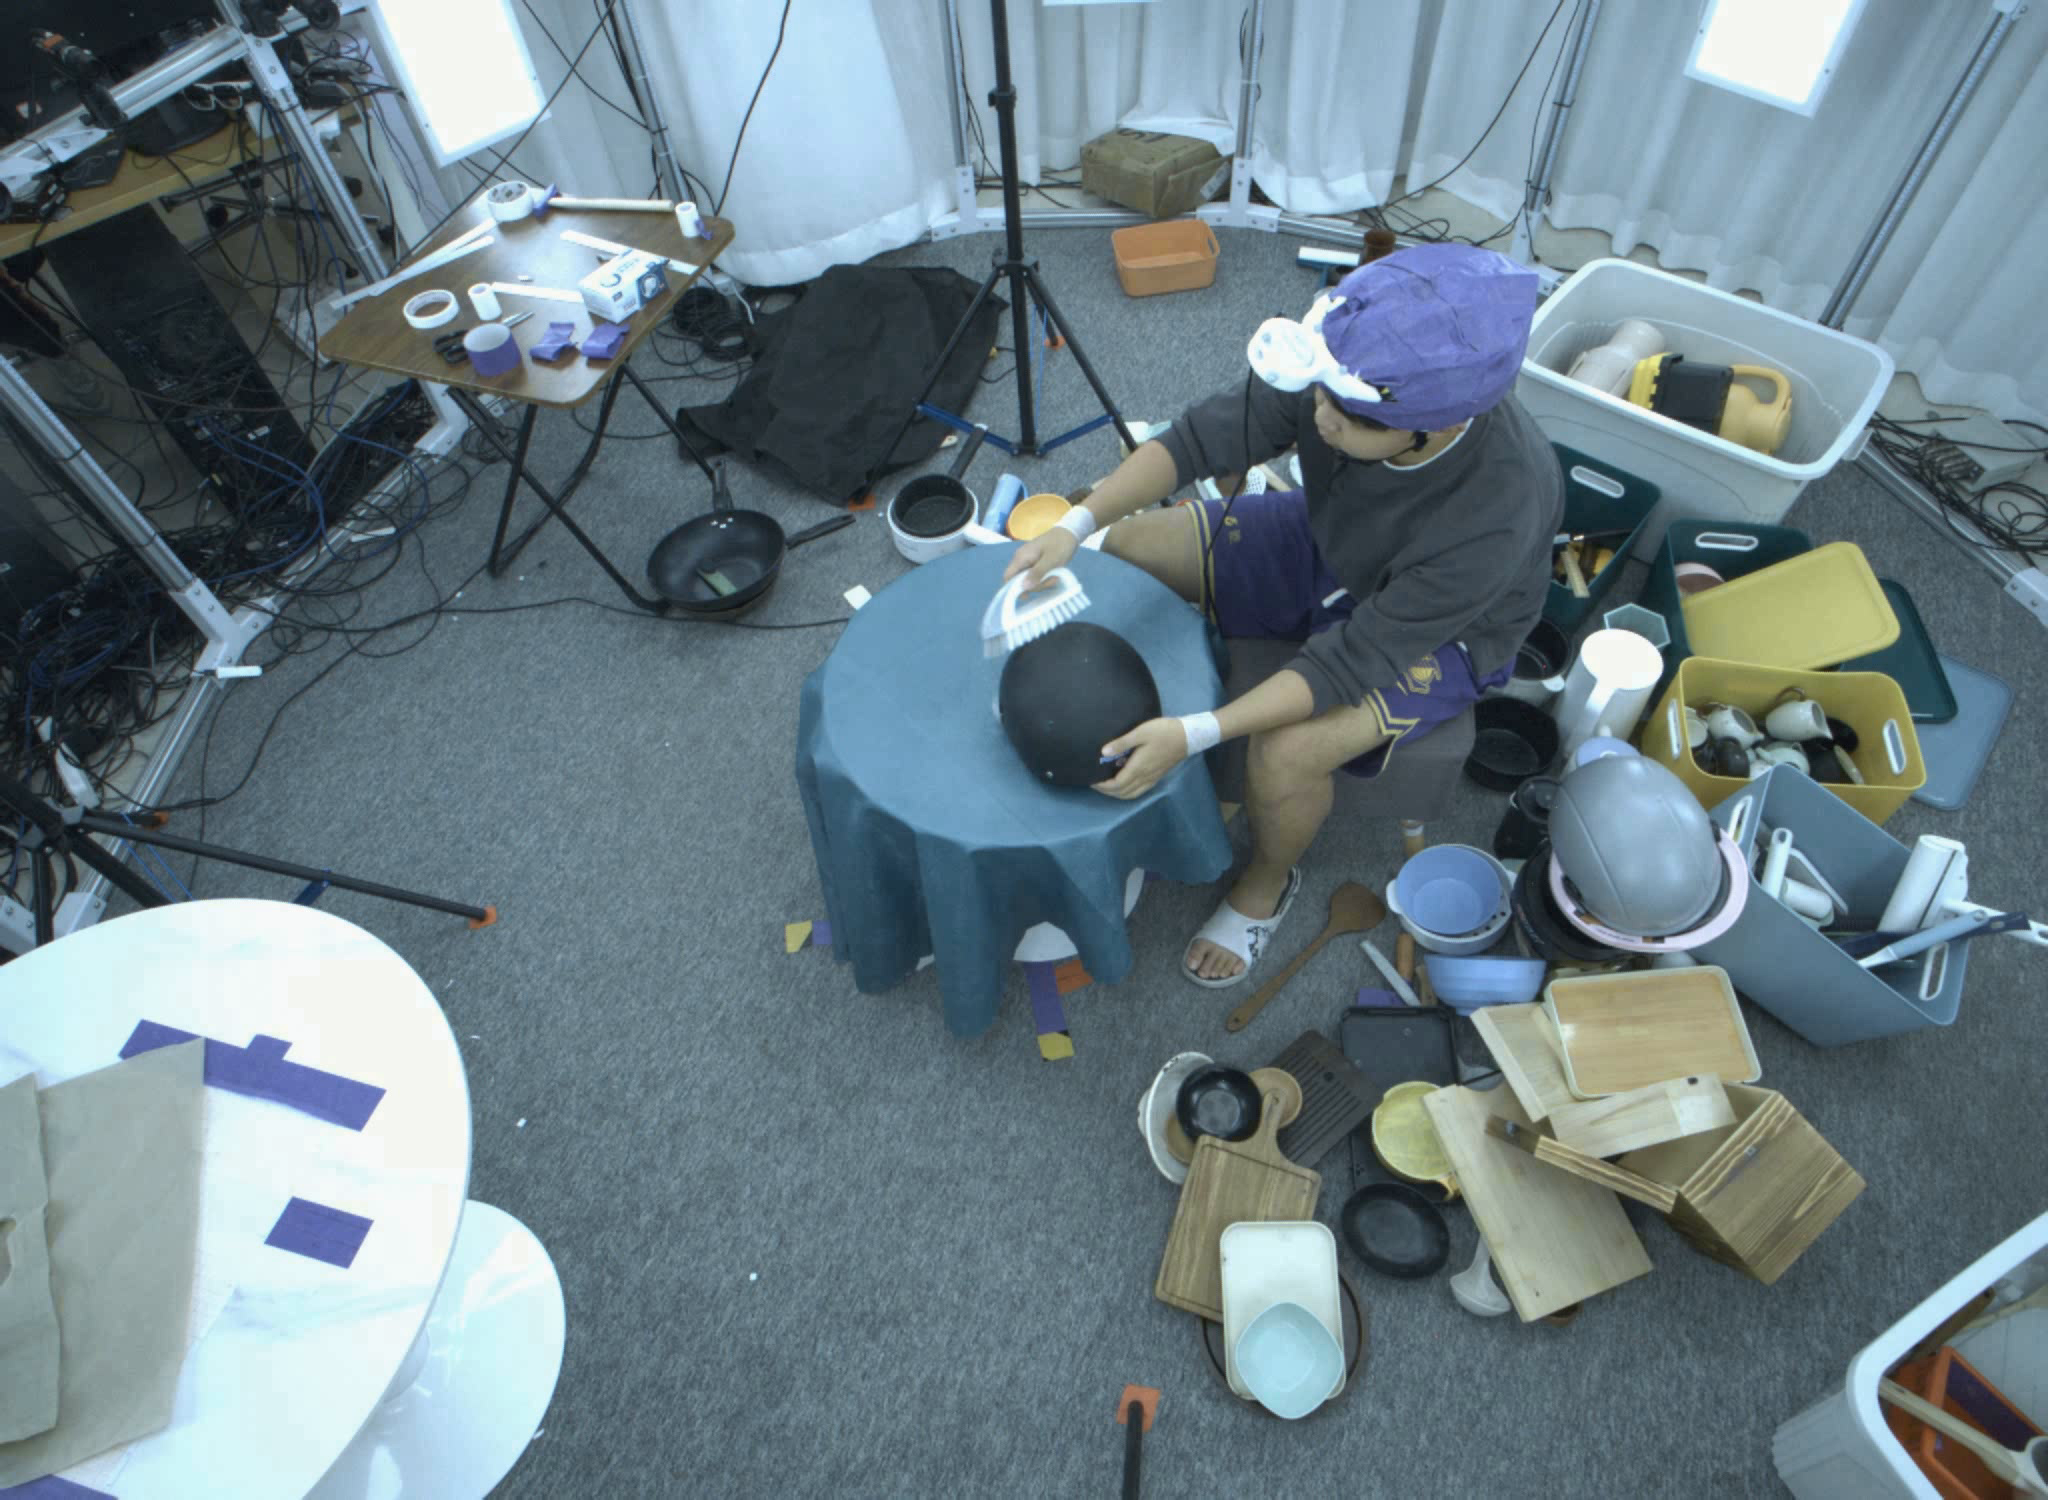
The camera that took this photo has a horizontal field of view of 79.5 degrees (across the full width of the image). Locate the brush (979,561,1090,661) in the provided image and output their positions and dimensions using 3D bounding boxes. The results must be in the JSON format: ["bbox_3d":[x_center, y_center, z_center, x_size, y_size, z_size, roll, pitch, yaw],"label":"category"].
[{"bbox_3d":[0.002,-0.204,1.737,0.177,0.095,0.060,-34,20,-19],"label":"brush"}]

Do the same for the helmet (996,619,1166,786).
[{"bbox_3d":[0.078,-0.088,1.751,0.232,0.168,0.268,-18,54,-11],"label":"helmet"}]
